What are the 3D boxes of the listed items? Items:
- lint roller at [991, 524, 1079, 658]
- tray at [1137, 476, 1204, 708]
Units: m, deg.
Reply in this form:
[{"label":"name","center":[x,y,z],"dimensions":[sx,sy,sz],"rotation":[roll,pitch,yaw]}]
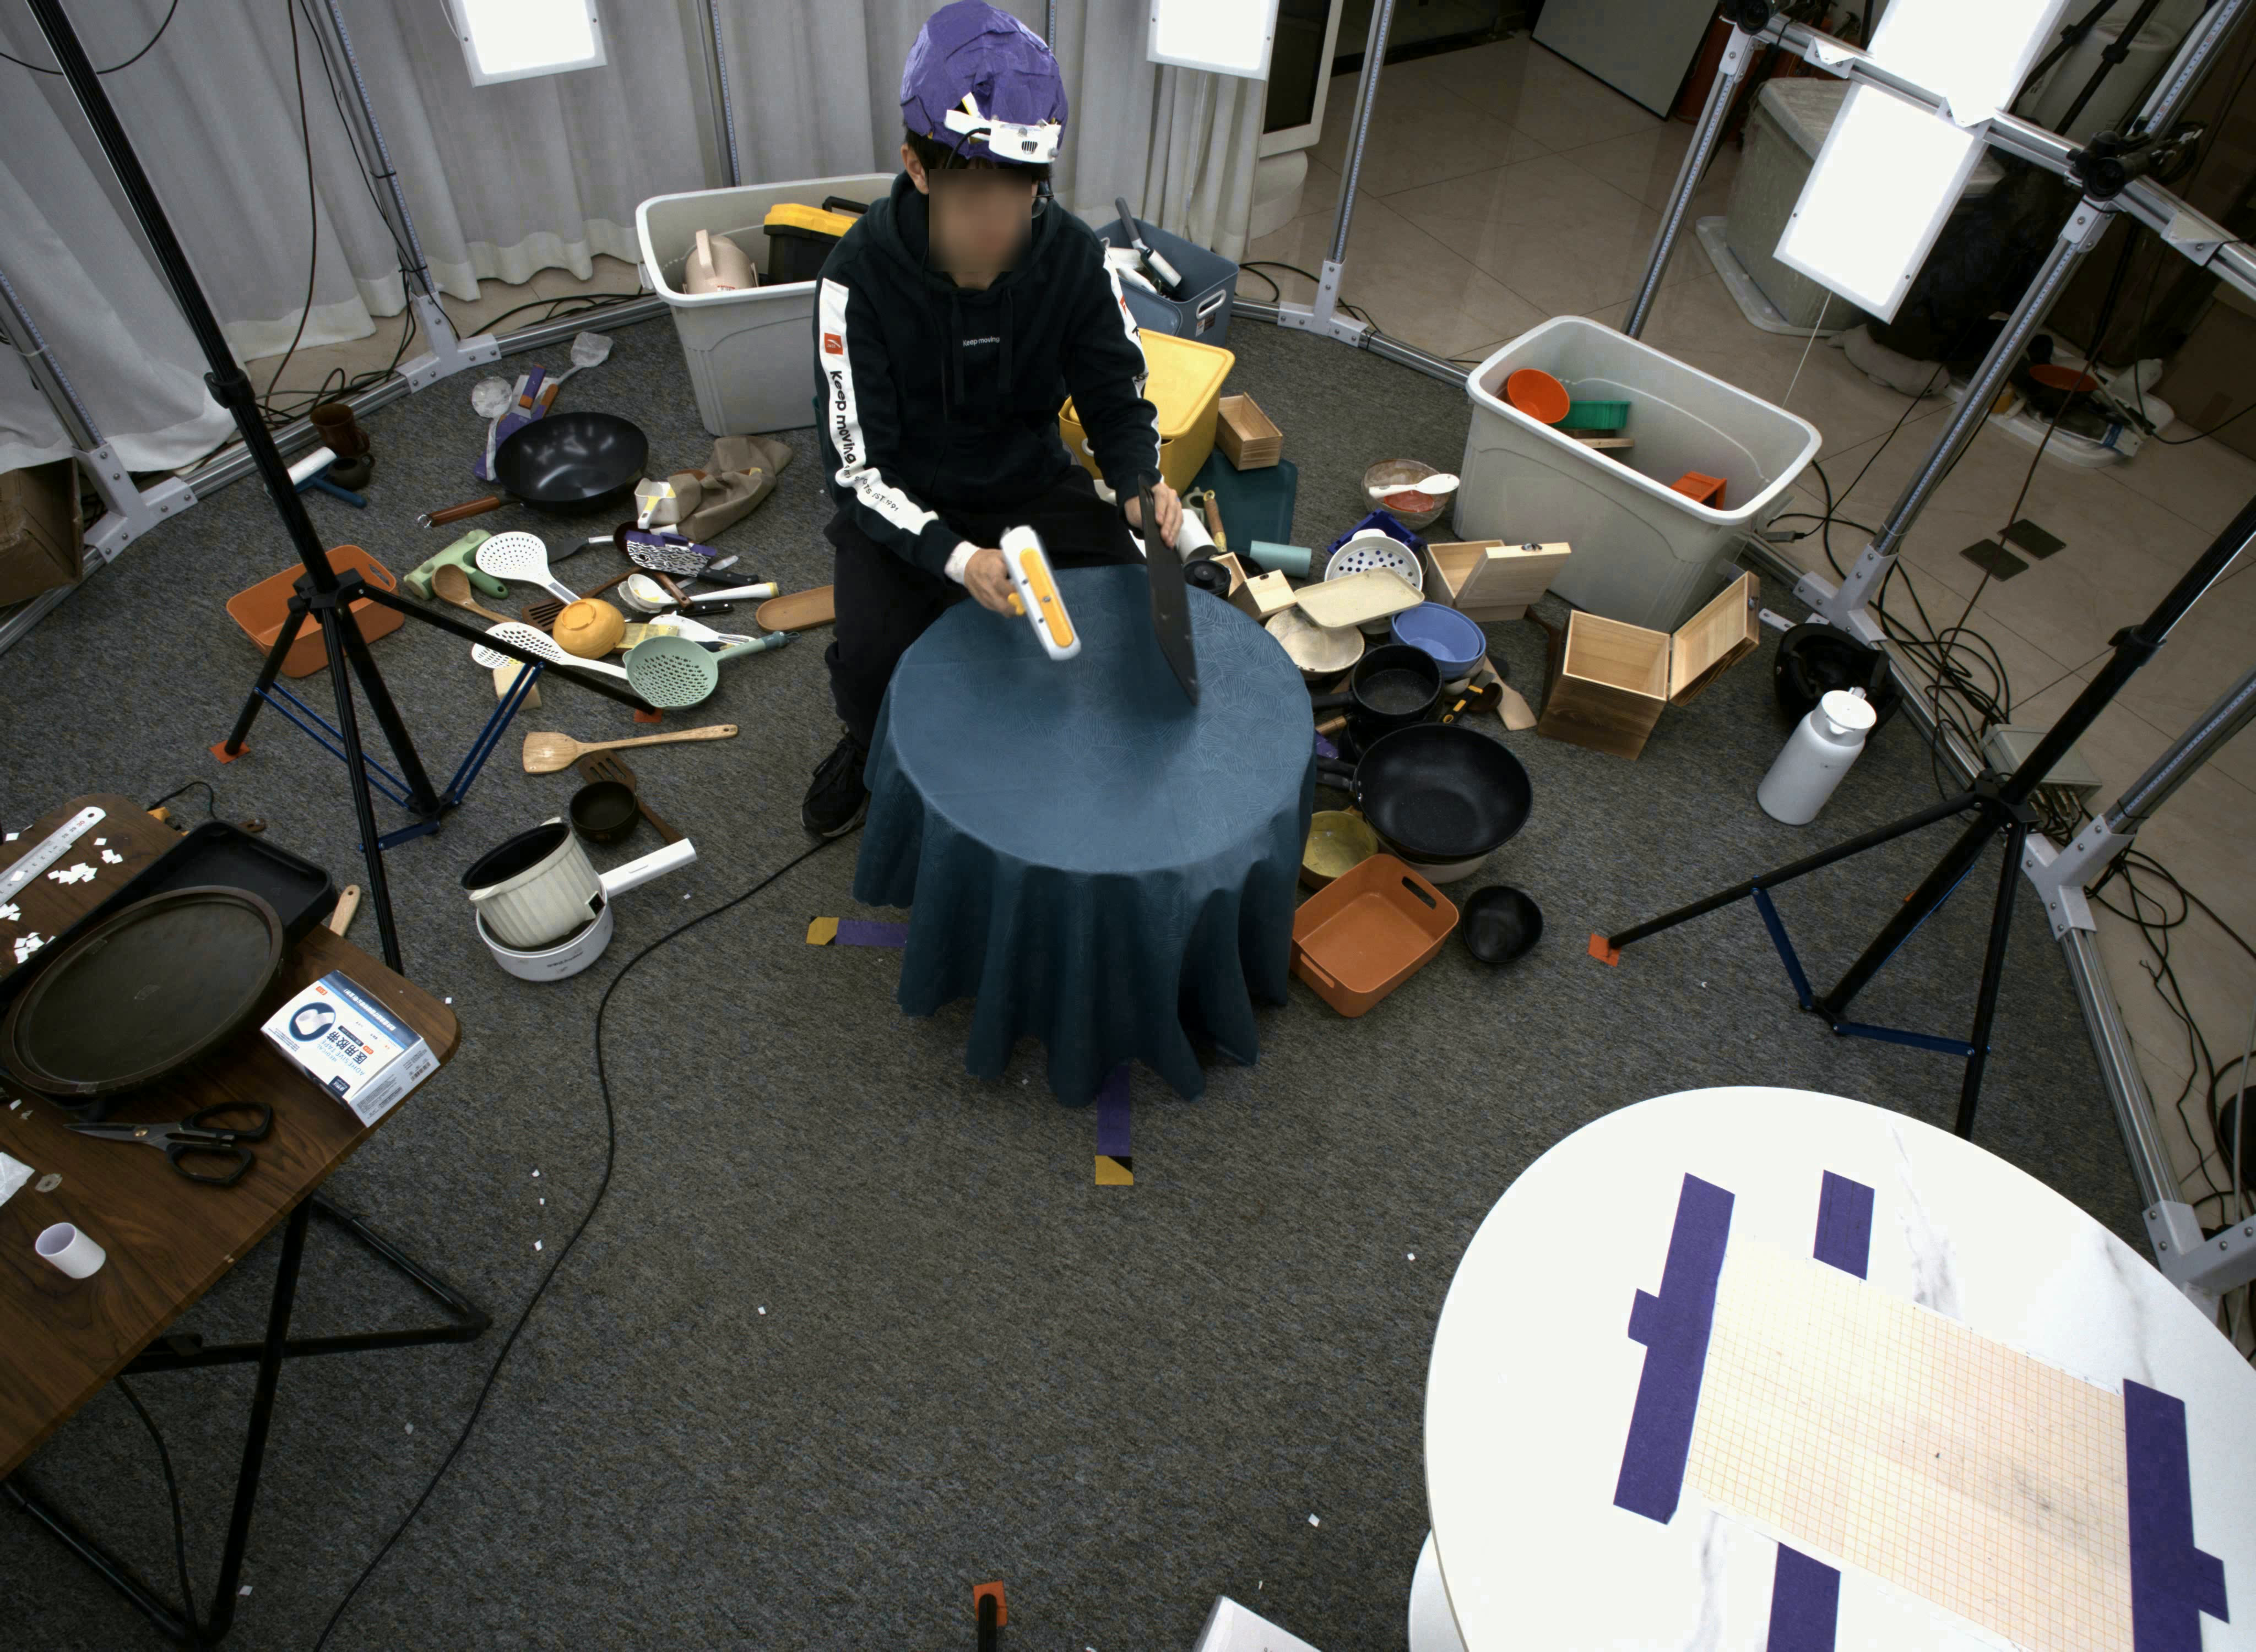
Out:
[{"label":"lint roller","center":[-0.146,-0.330,1.819],"dimensions":[0.074,0.190,0.195],"rotation":[-33,18,-5]},{"label":"tray","center":[0.061,-0.336,1.807],"dimensions":[0.010,0.206,0.333],"rotation":[-16,57,16]}]
